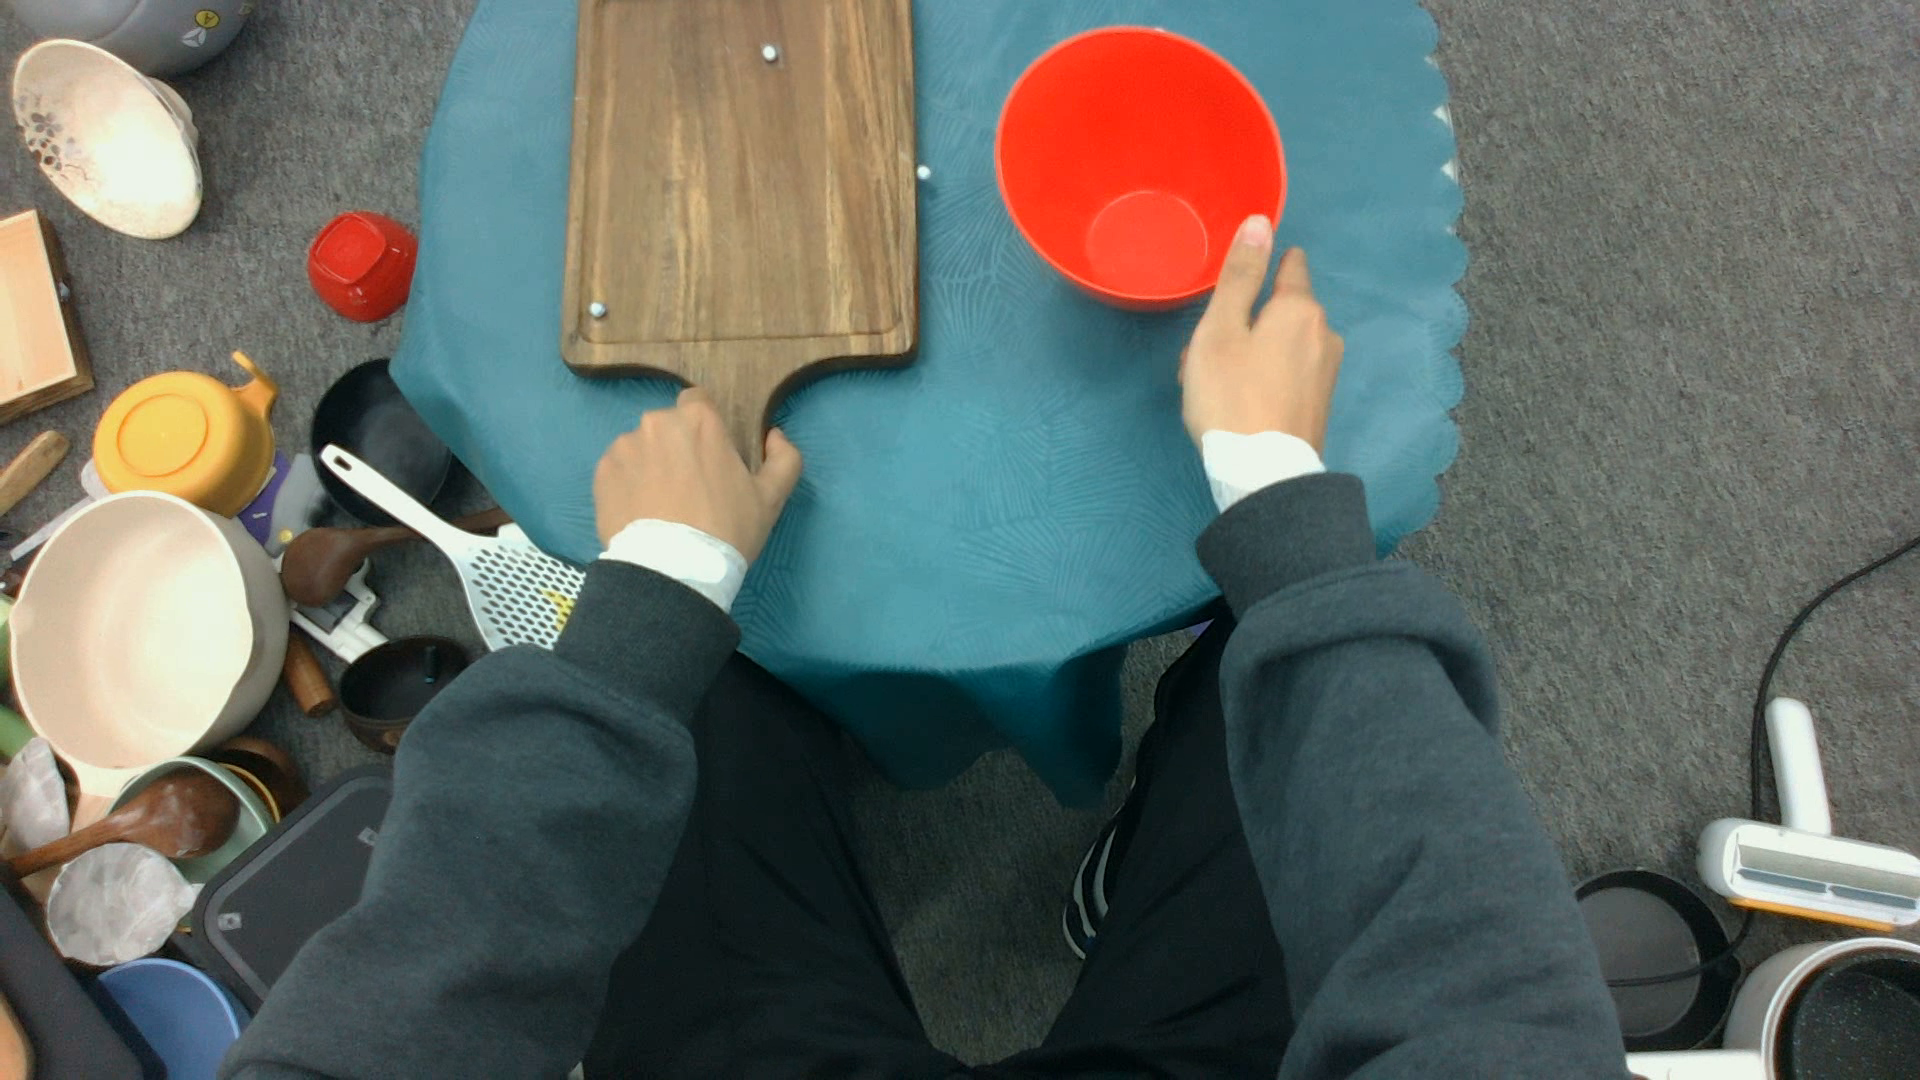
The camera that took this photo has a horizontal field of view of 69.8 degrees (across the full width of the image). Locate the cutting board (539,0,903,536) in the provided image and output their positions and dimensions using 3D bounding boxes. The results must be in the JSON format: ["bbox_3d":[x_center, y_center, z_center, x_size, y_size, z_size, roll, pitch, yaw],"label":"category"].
[{"bbox_3d":[-0.134,-0.173,0.771,0.201,0.023,0.353,-3,74,1],"label":"cutting board"}]

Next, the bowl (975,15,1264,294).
[{"bbox_3d":[0.083,-0.189,0.733,0.148,0.104,0.148,0,75,2],"label":"bowl"}]
